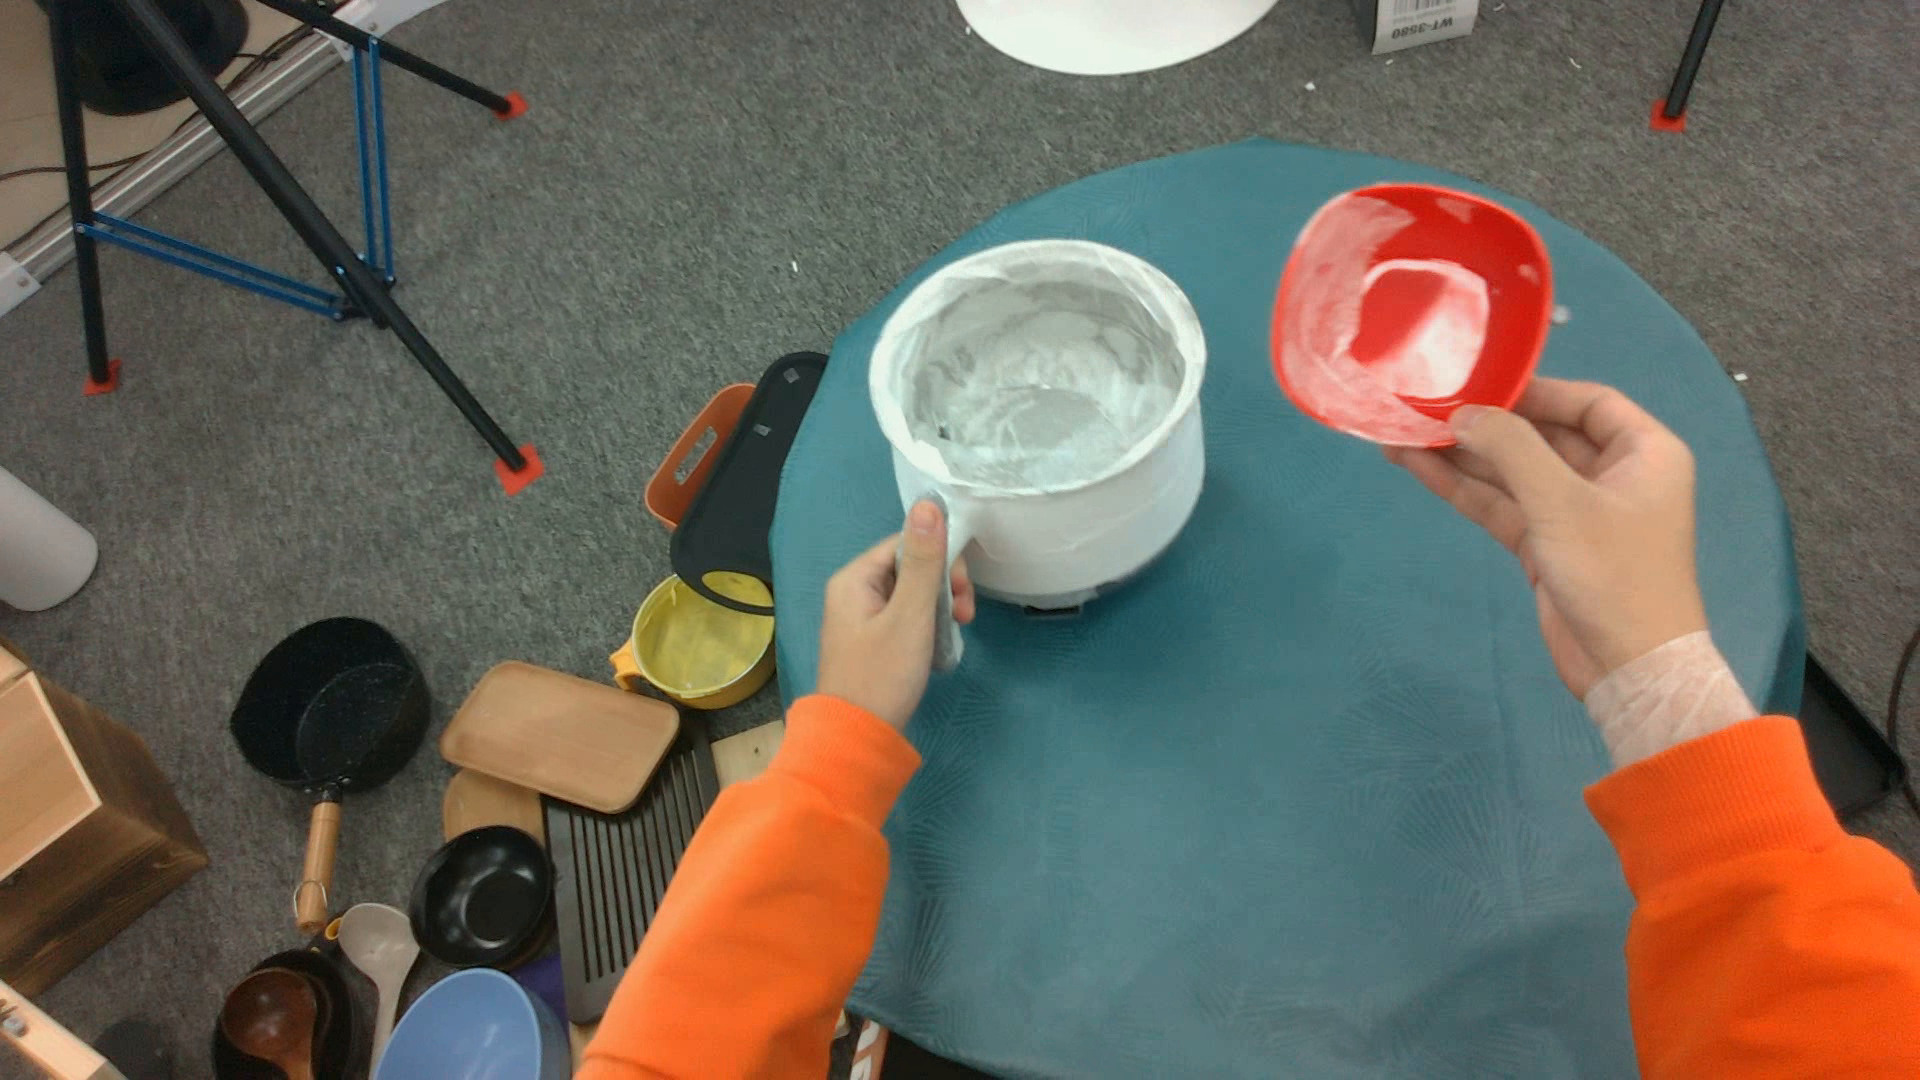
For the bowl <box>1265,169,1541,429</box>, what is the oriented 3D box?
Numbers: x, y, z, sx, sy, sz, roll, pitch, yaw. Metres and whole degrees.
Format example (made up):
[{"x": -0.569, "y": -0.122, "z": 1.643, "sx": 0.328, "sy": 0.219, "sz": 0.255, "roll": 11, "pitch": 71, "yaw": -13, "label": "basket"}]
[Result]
[{"x": 0.196, "y": -0.103, "z": 0.612, "sx": 0.118, "sy": 0.051, "sz": 0.119, "roll": -1, "pitch": 86, "yaw": 21, "label": "bowl"}]

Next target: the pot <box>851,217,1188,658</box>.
[{"x": 0.025, "y": -0.050, "z": 0.762, "sx": 0.178, "sy": 0.136, "sz": 0.234, "roll": 21, "pitch": 63, "yaw": 22, "label": "pot"}]
